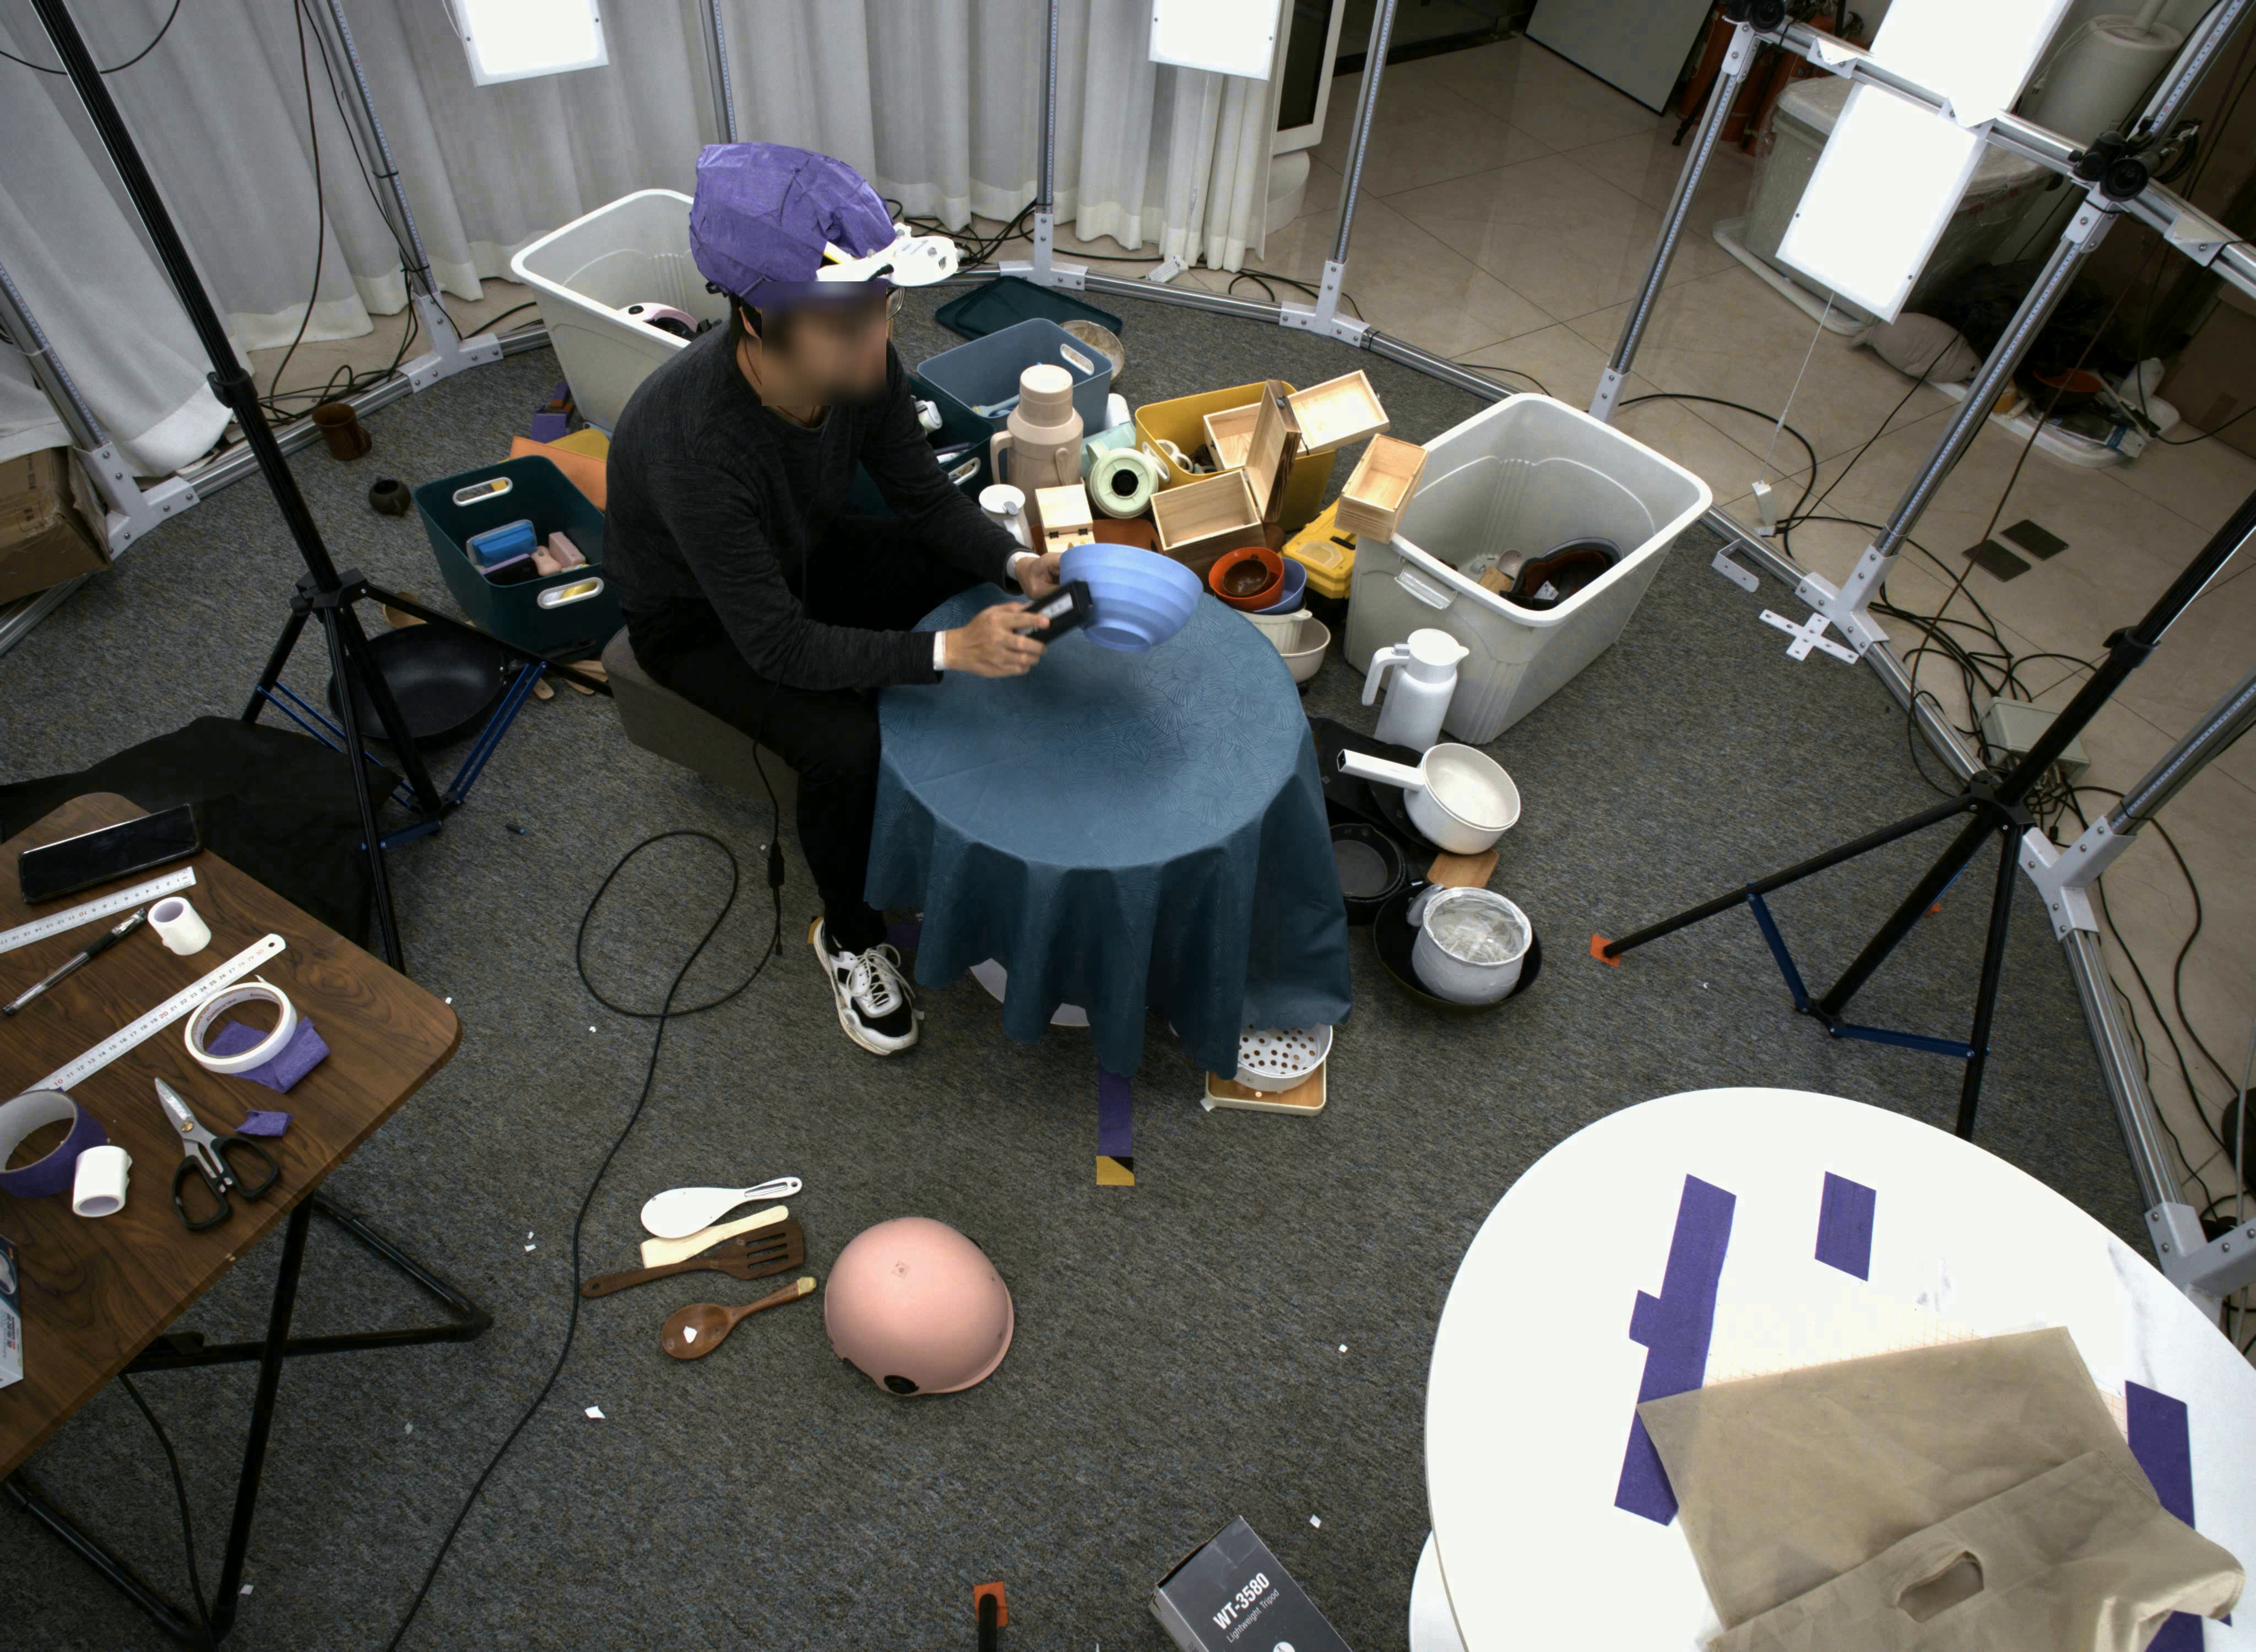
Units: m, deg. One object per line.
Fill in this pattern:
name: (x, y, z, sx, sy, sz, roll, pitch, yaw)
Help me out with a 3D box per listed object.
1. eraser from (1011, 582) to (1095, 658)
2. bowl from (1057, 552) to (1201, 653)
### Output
eraser: (-0.097, -0.267, 1.668, 0.030, 0.125, 0.054, 4, 68, -49)
bowl: (-0.005, -0.289, 1.721, 0.196, 0.195, 0.096, 9, 85, 2)
